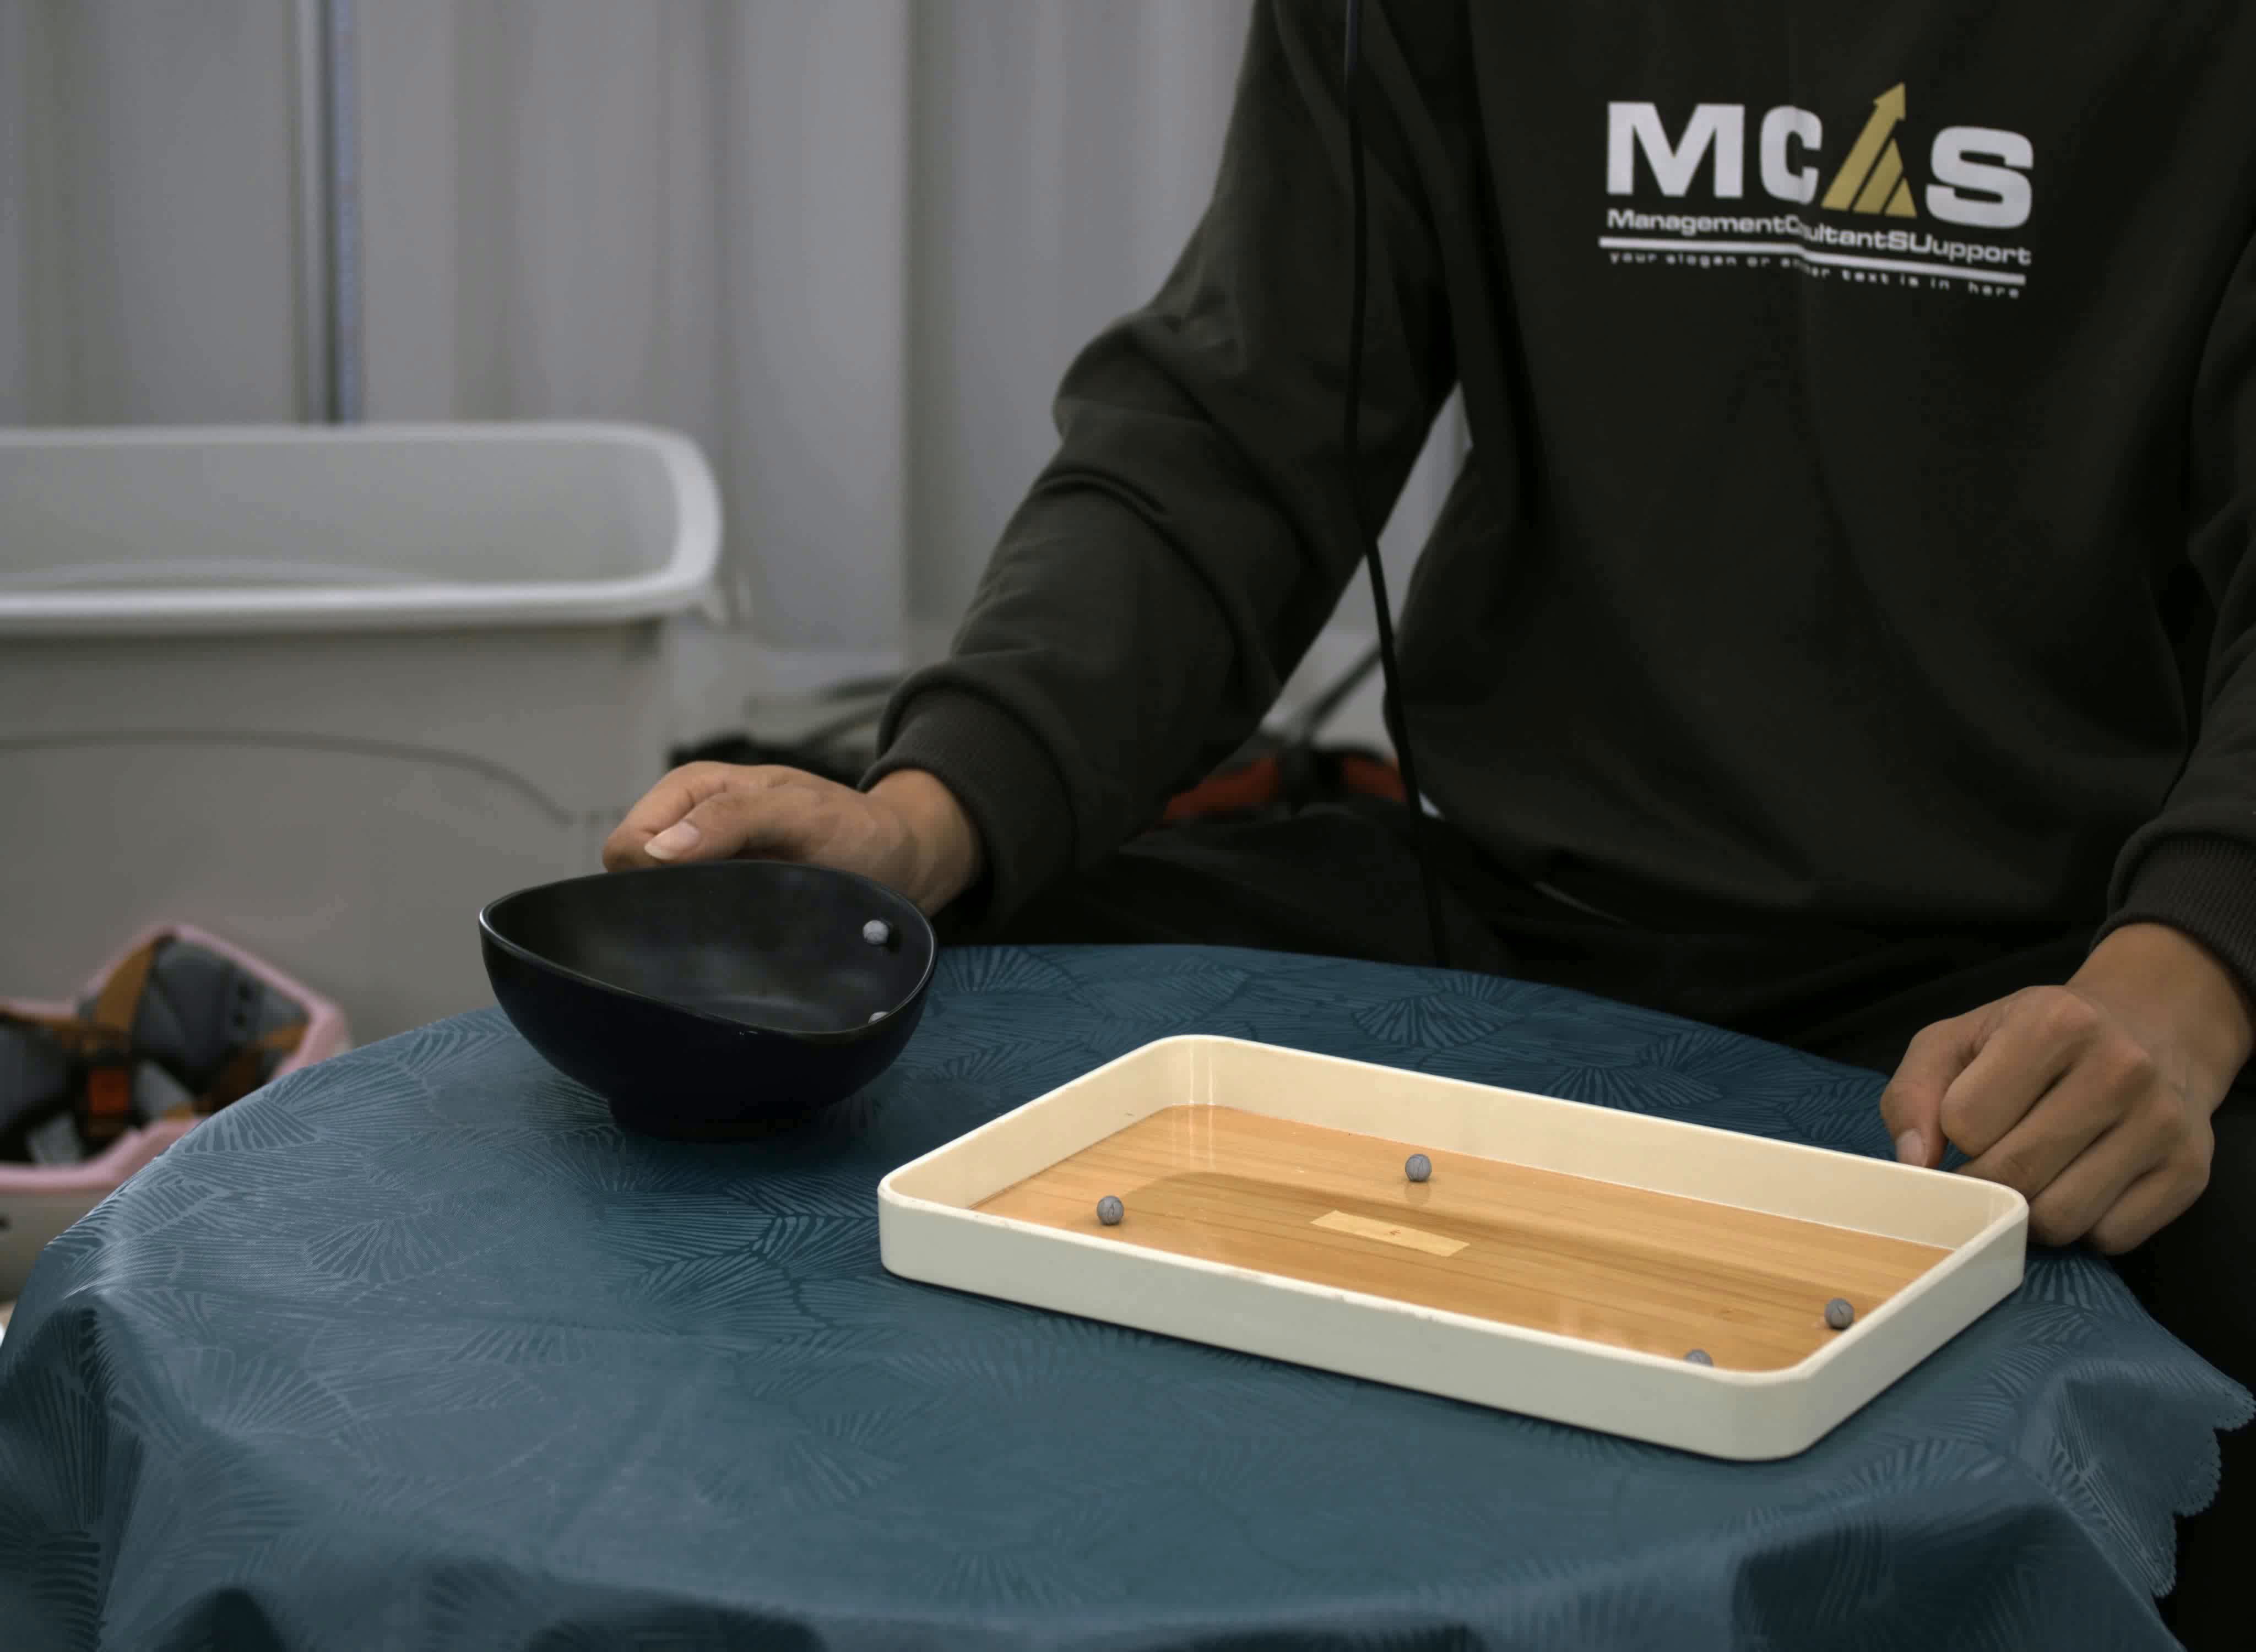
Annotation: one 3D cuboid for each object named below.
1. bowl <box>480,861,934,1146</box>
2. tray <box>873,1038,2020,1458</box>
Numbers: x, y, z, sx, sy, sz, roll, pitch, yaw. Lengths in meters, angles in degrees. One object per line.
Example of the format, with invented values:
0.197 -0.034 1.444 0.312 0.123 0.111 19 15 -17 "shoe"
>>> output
-0.133 0.061 1.692 0.138 0.067 0.168 -12 22 -36 "bowl"
0.094 0.120 1.559 0.297 0.027 0.192 9 17 29 "tray"
